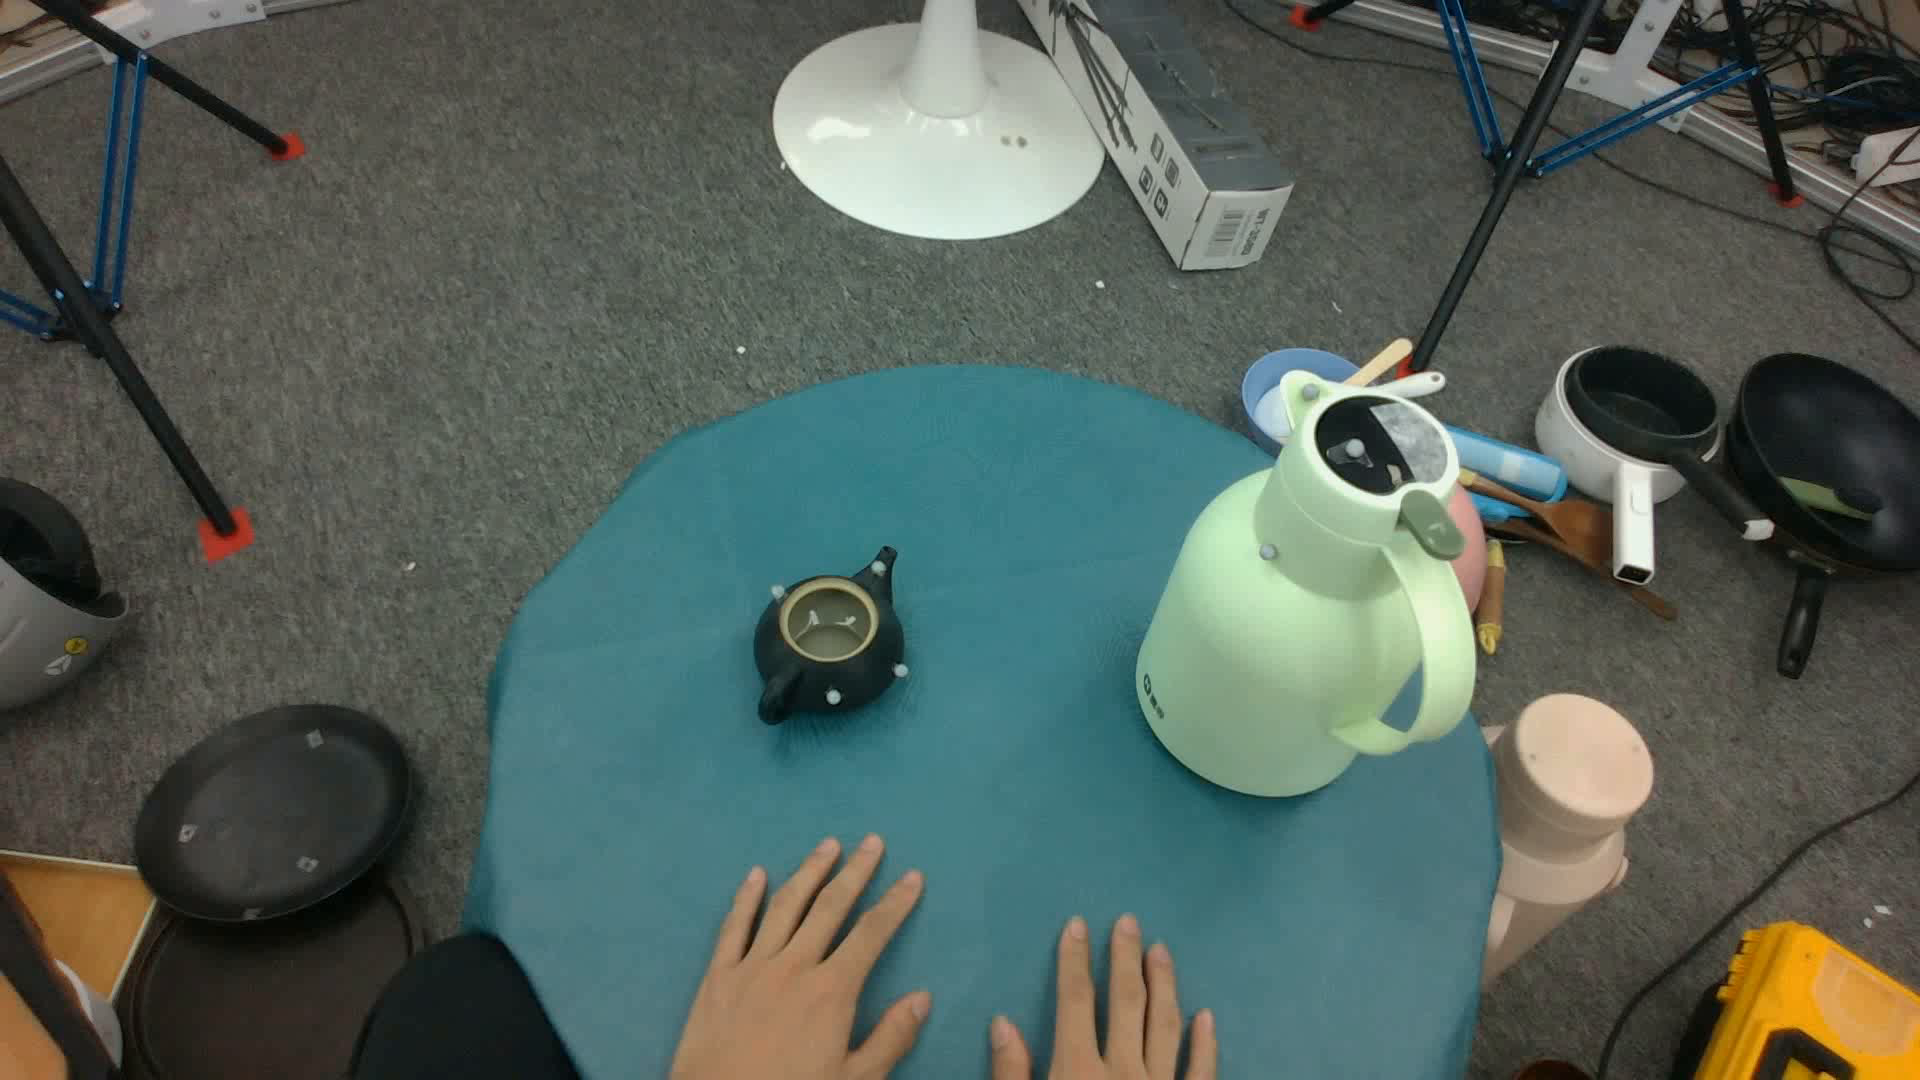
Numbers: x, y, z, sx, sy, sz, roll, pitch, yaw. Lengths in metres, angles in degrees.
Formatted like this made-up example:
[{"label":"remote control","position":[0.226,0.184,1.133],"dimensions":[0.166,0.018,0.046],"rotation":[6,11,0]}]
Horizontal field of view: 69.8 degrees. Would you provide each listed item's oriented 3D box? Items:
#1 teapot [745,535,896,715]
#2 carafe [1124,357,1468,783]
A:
[{"label":"teapot","position":[-0.084,0.055,0.823],"dimensions":[0.091,0.053,0.134],"rotation":[28,56,15]},{"label":"carafe","position":[0.191,0.032,0.753],"dimensions":[0.144,0.255,0.187],"rotation":[-15,61,-18]}]
